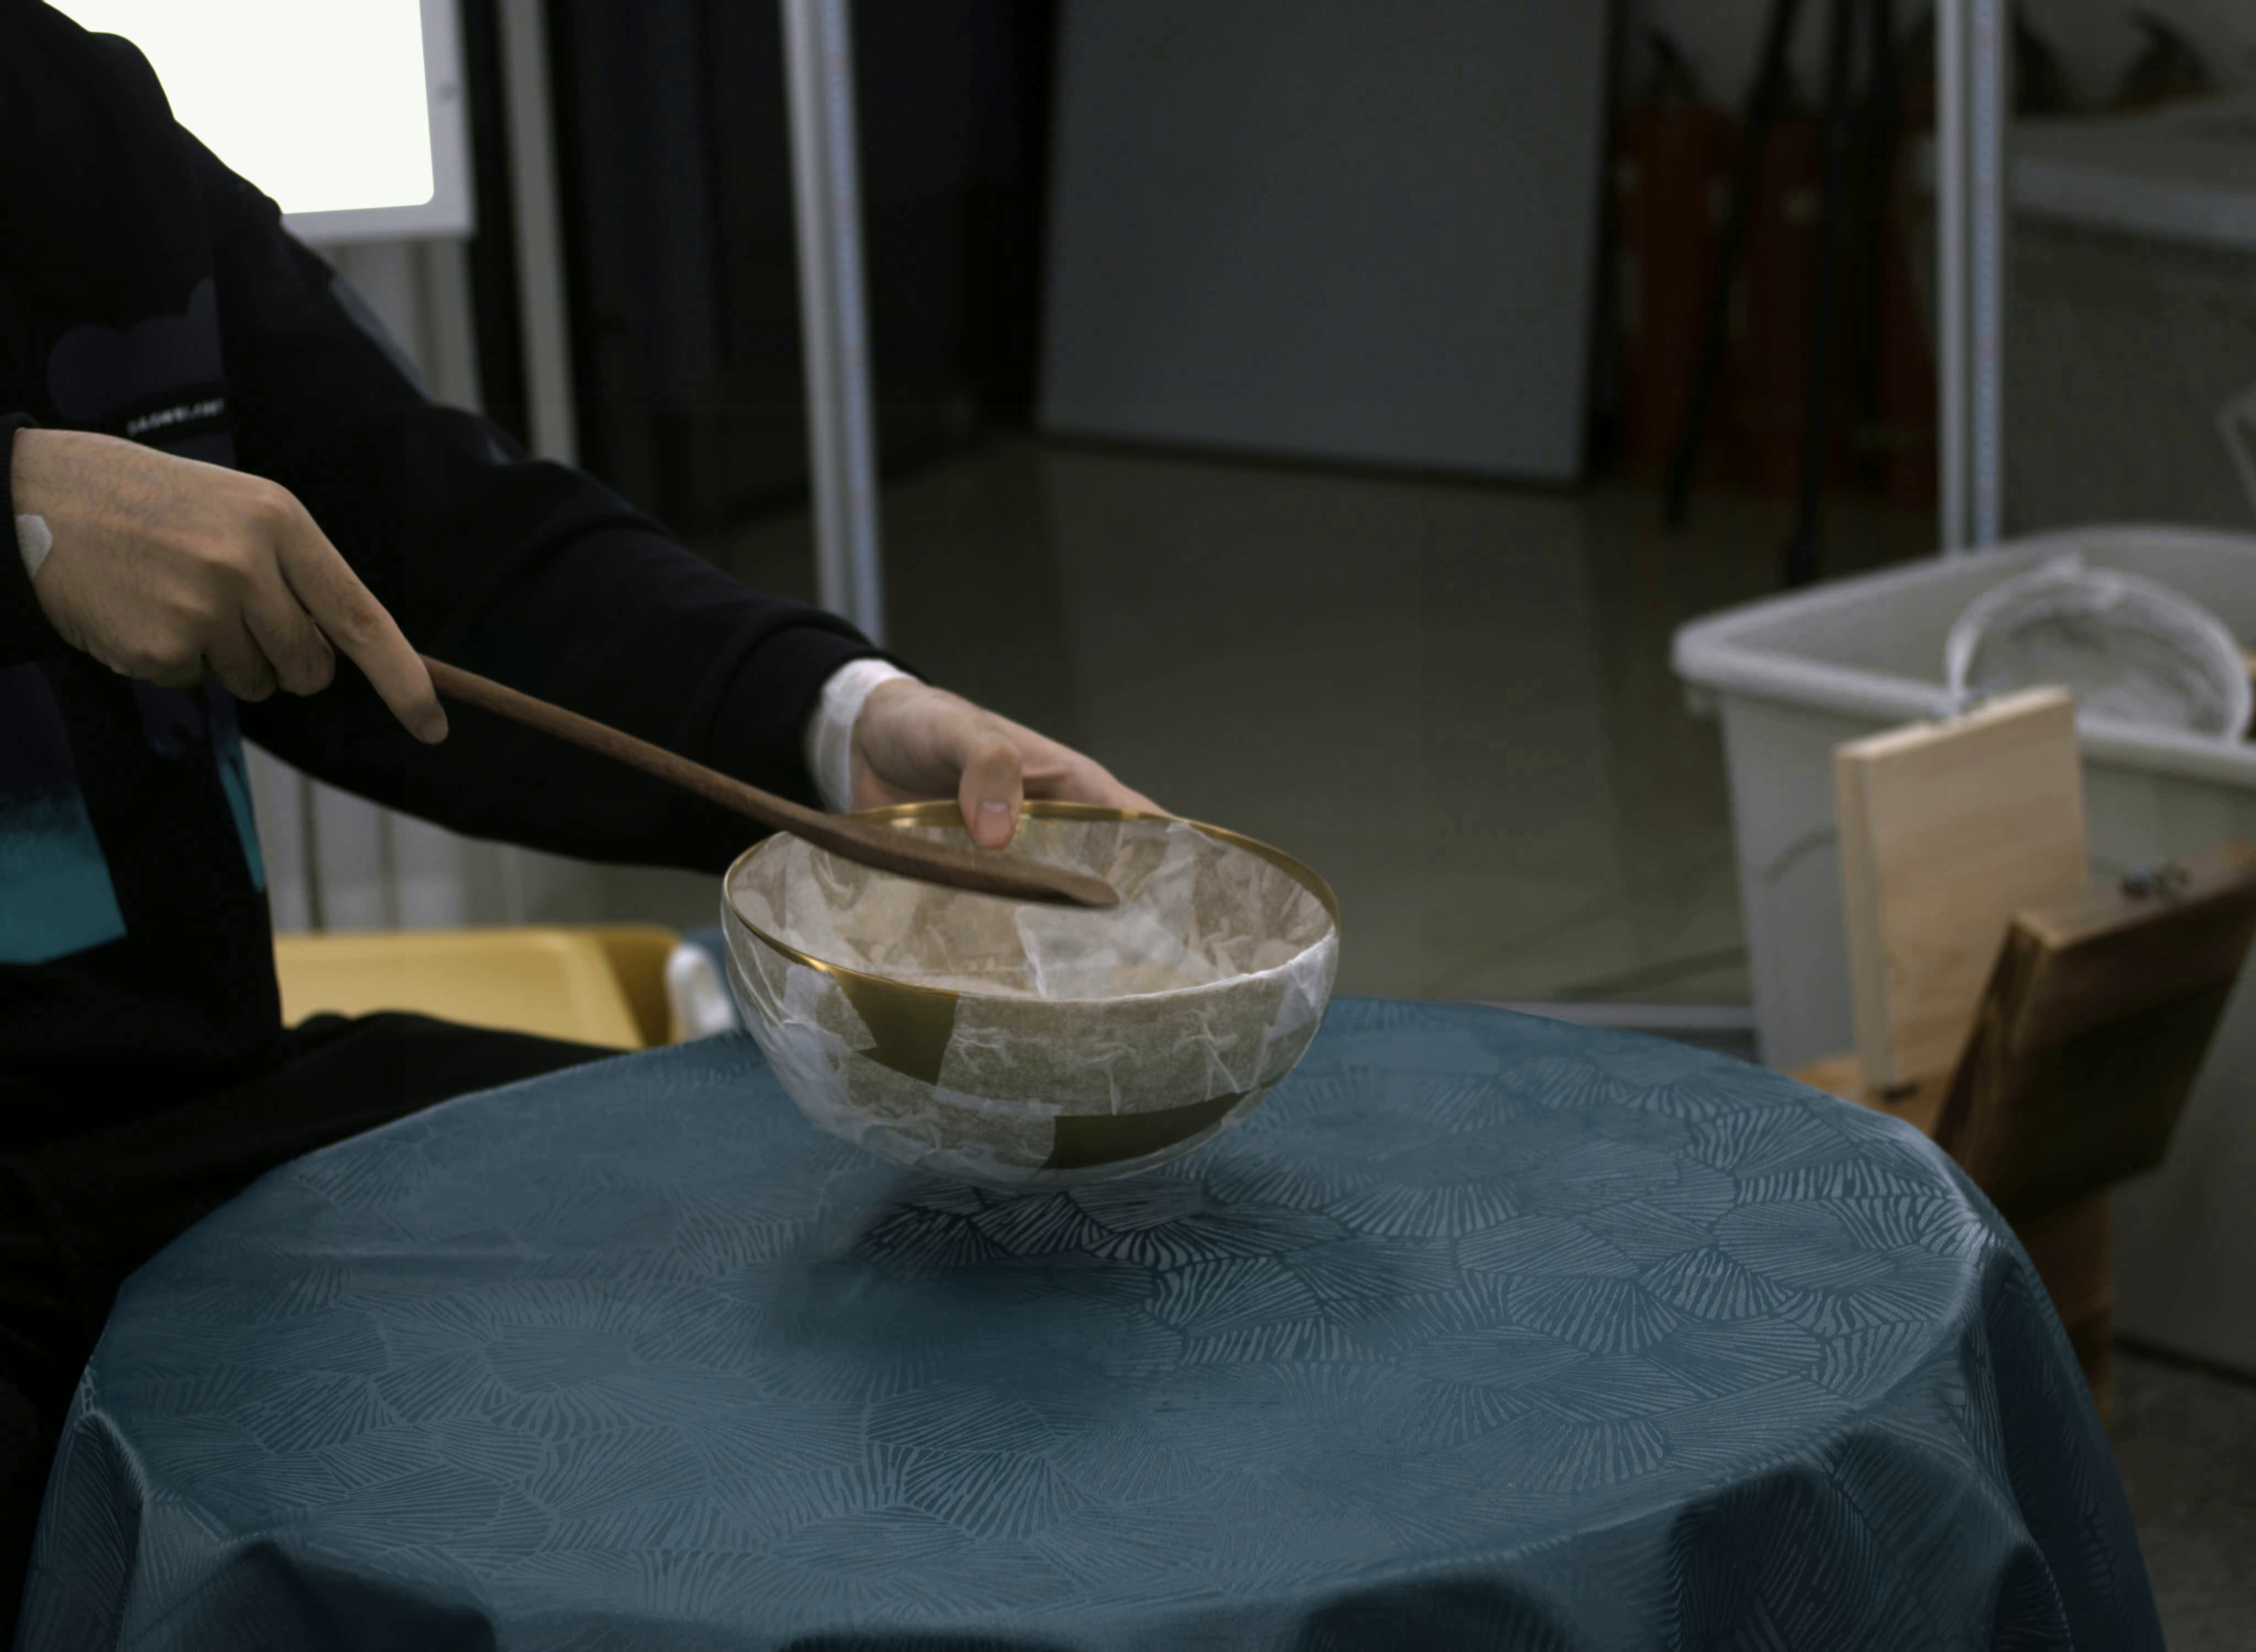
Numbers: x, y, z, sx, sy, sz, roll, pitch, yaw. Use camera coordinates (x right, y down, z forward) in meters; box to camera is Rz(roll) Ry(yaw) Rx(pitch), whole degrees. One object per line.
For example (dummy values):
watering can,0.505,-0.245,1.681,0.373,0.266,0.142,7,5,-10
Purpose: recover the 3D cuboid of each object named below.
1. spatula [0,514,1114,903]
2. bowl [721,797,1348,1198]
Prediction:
spatula,-0.184,-0.037,1.697,0.384,0.016,0.095,19,3,12
bowl,-0.030,0.062,1.733,0.212,0.095,0.215,0,17,-1
